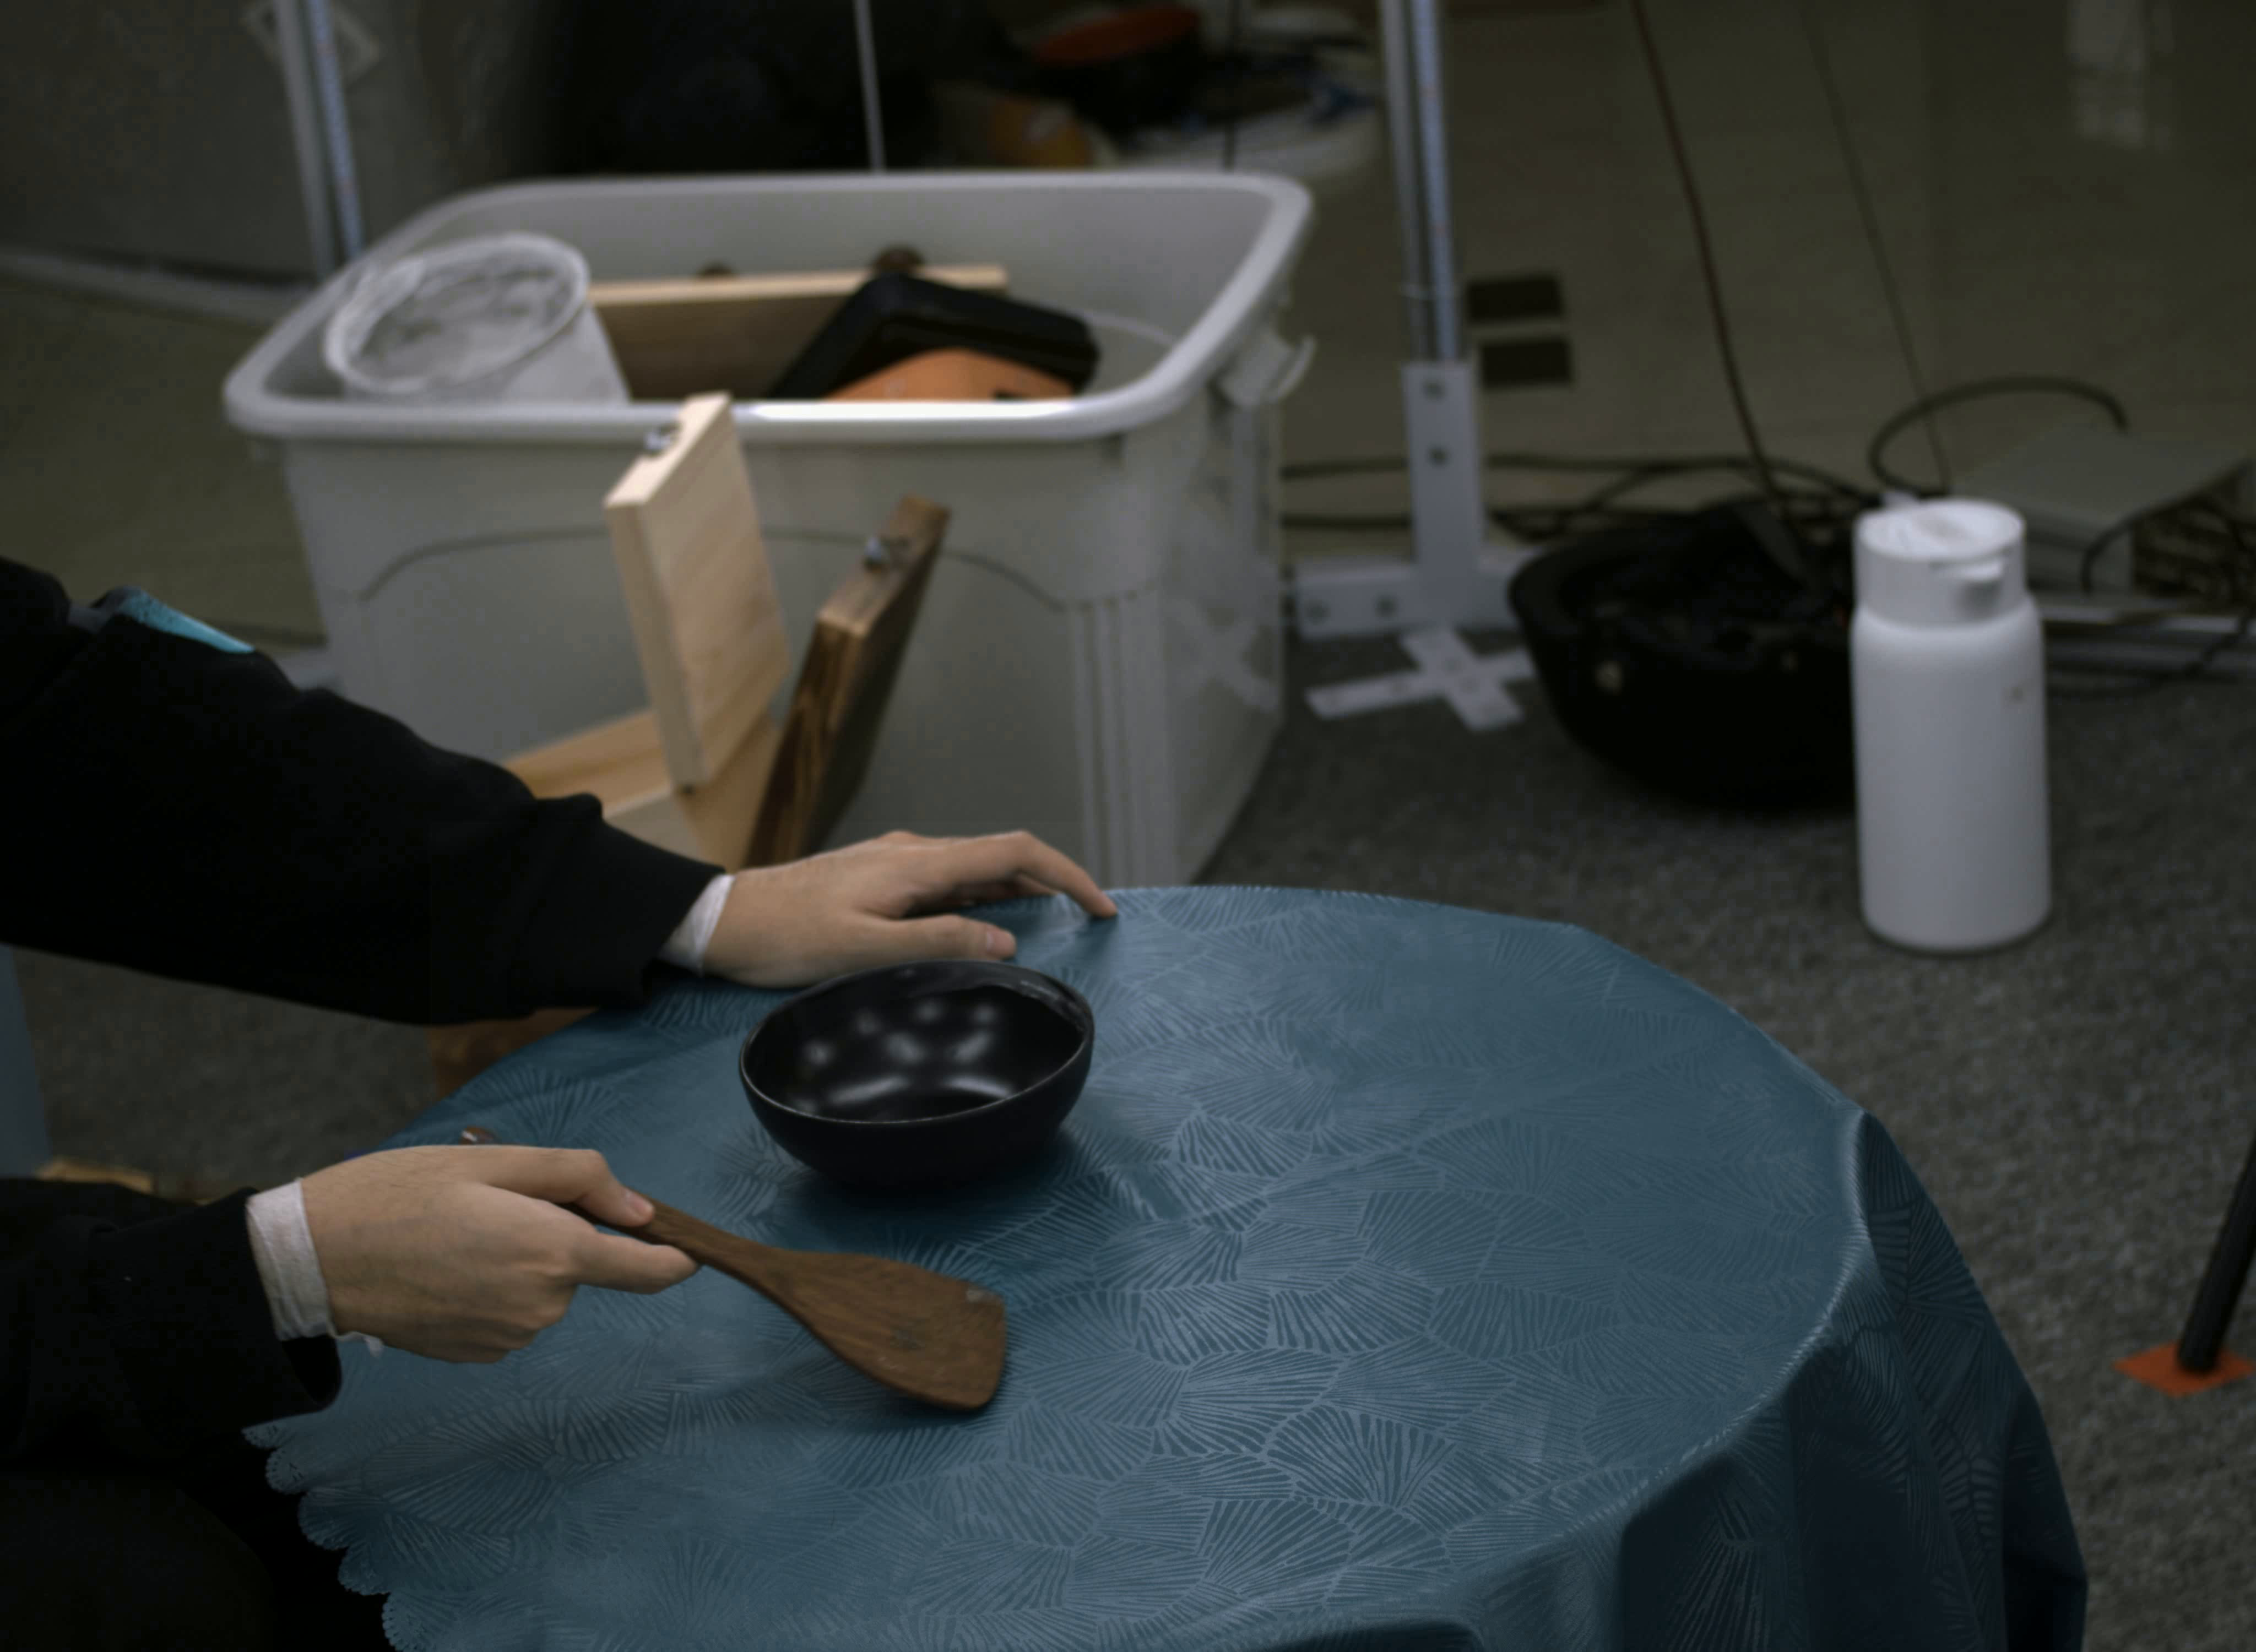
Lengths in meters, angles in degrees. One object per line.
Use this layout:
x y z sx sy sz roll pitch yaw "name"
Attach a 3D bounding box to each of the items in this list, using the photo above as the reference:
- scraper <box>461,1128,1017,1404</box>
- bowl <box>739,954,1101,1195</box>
-0.139 0.152 2.027 0.211 0.011 0.074 22 31 -8 "scraper"
-0.078 0.104 2.190 0.140 0.050 0.138 -5 28 3 "bowl"
